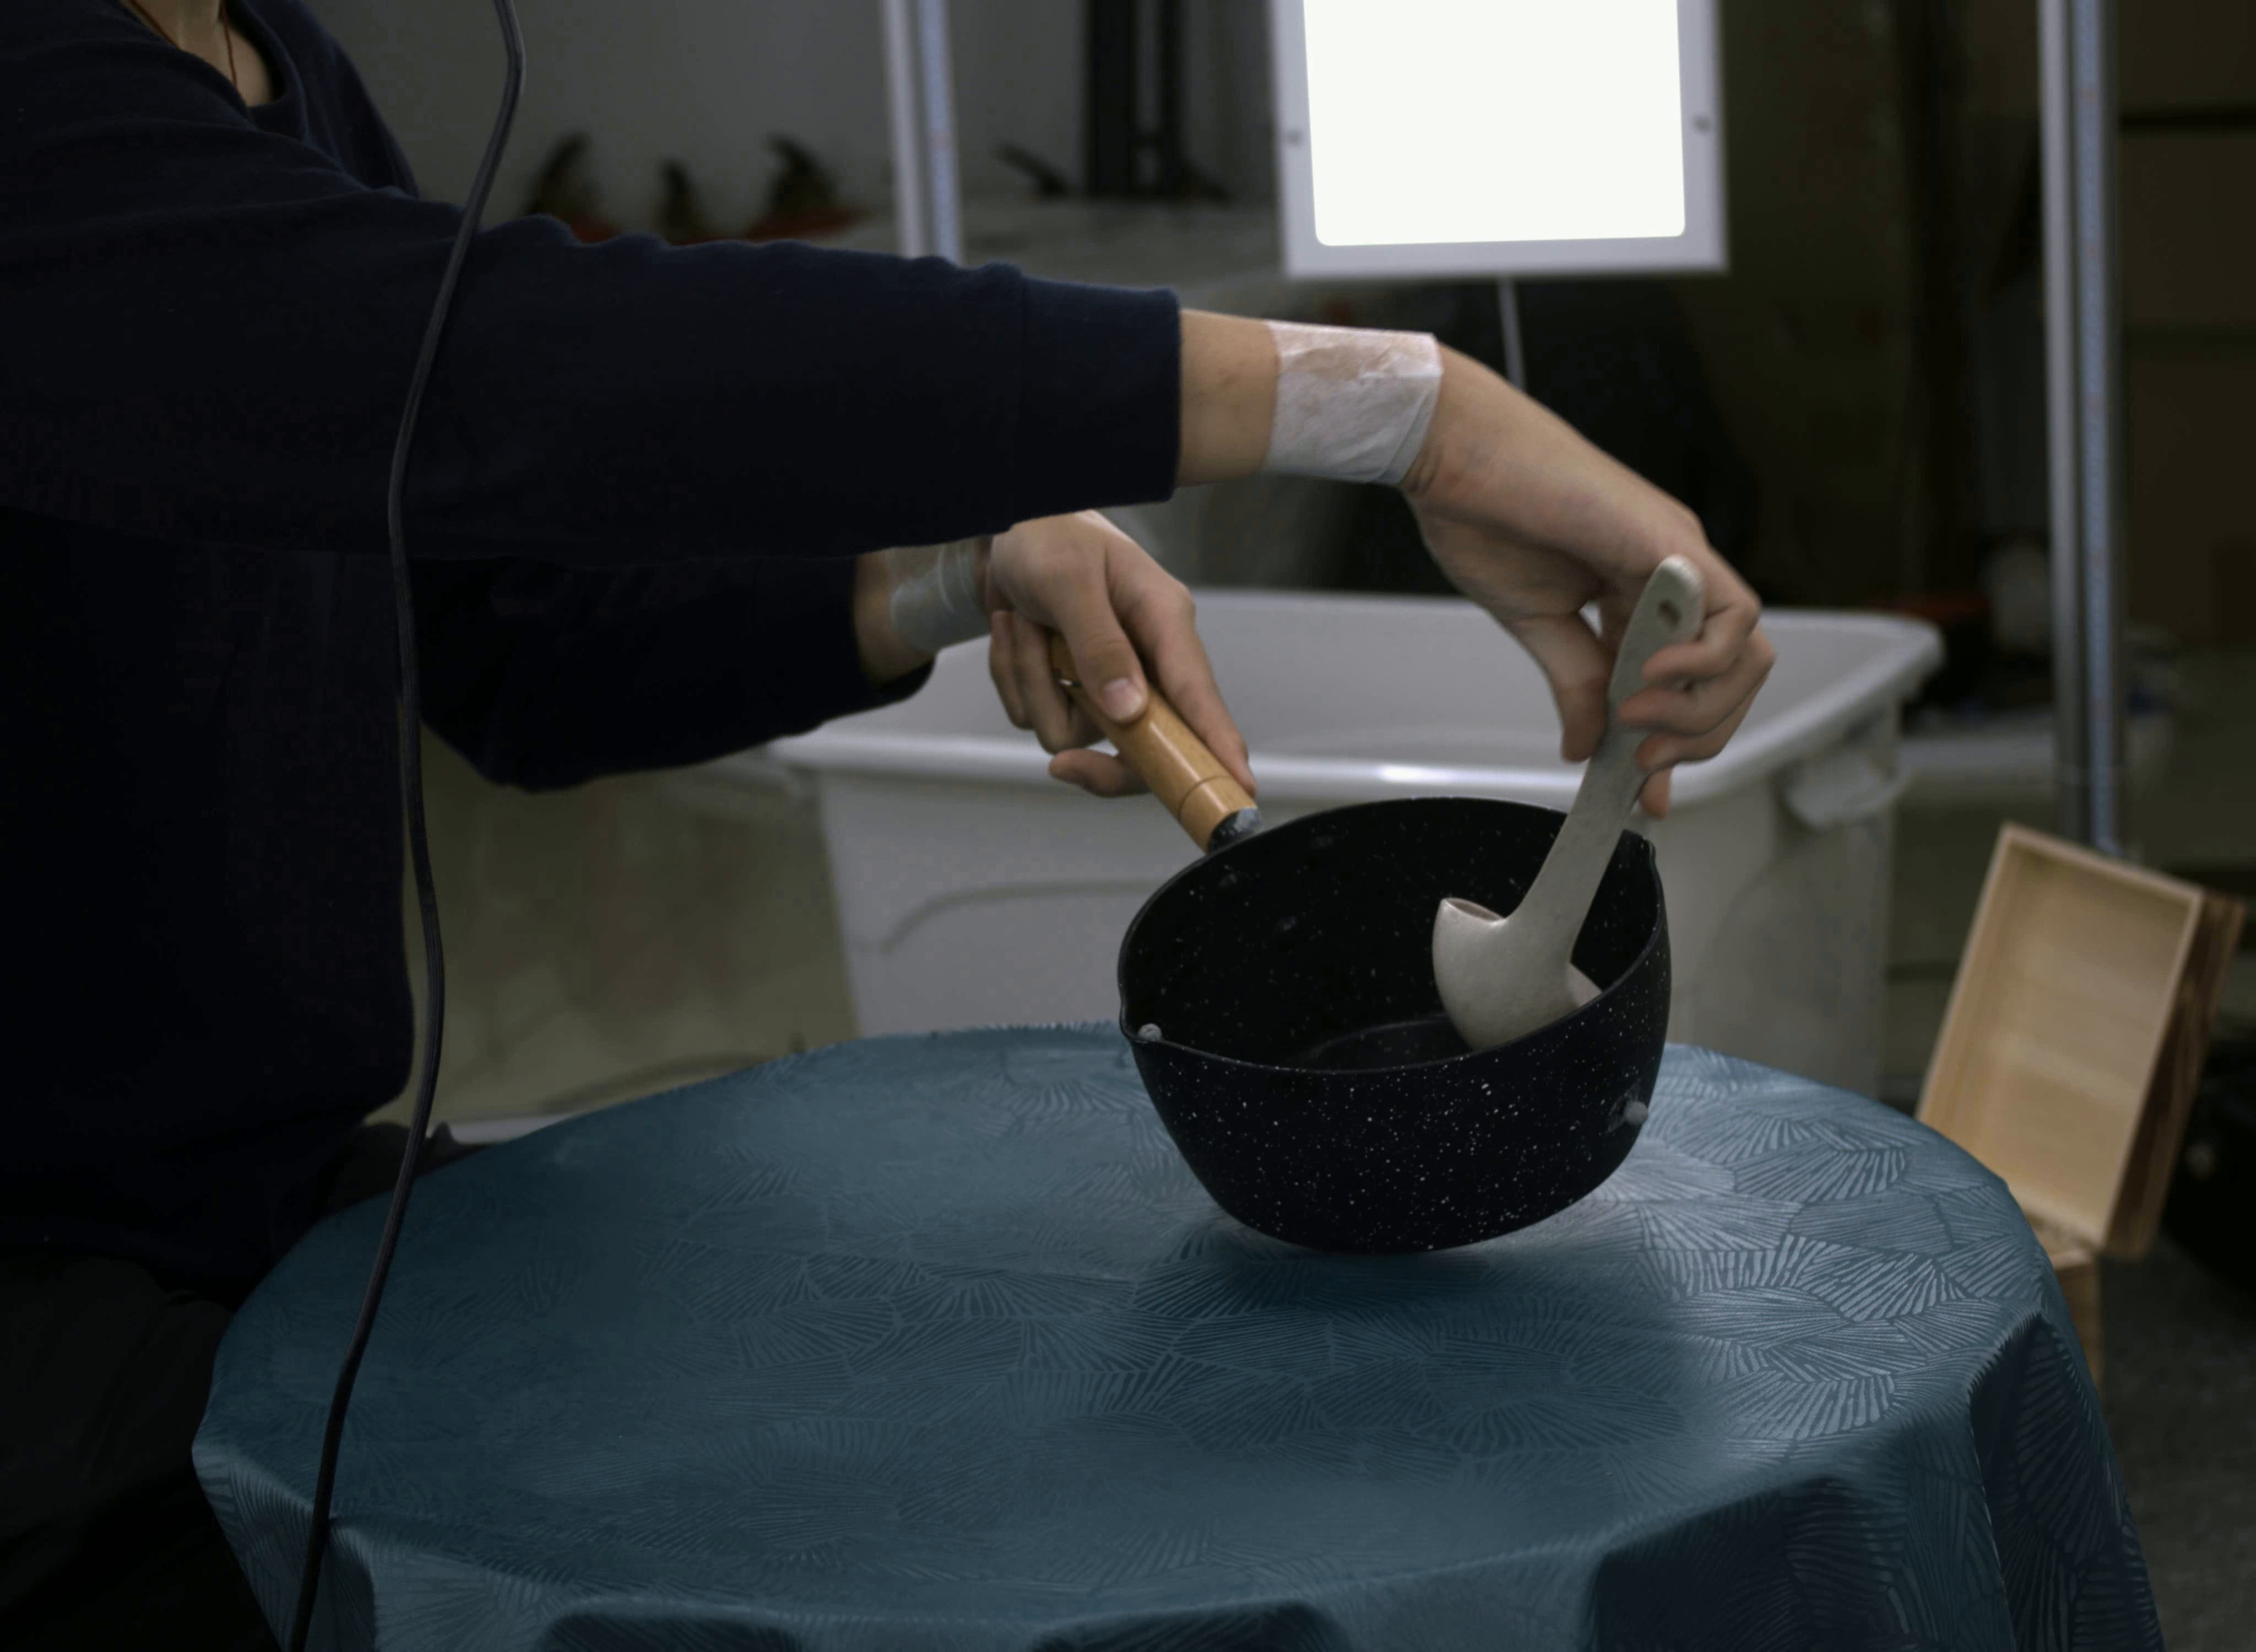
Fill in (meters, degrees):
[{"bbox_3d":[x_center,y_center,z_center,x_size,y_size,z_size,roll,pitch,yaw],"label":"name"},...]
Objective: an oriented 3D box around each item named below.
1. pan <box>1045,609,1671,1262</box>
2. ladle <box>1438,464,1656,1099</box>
[{"bbox_3d":[0.056,0.031,1.911,0.204,0.108,0.347,-22,31,-18],"label":"pan"},{"bbox_3d":[0.150,-0.019,1.736,0.068,0.277,0.090,-22,52,-26],"label":"ladle"}]
